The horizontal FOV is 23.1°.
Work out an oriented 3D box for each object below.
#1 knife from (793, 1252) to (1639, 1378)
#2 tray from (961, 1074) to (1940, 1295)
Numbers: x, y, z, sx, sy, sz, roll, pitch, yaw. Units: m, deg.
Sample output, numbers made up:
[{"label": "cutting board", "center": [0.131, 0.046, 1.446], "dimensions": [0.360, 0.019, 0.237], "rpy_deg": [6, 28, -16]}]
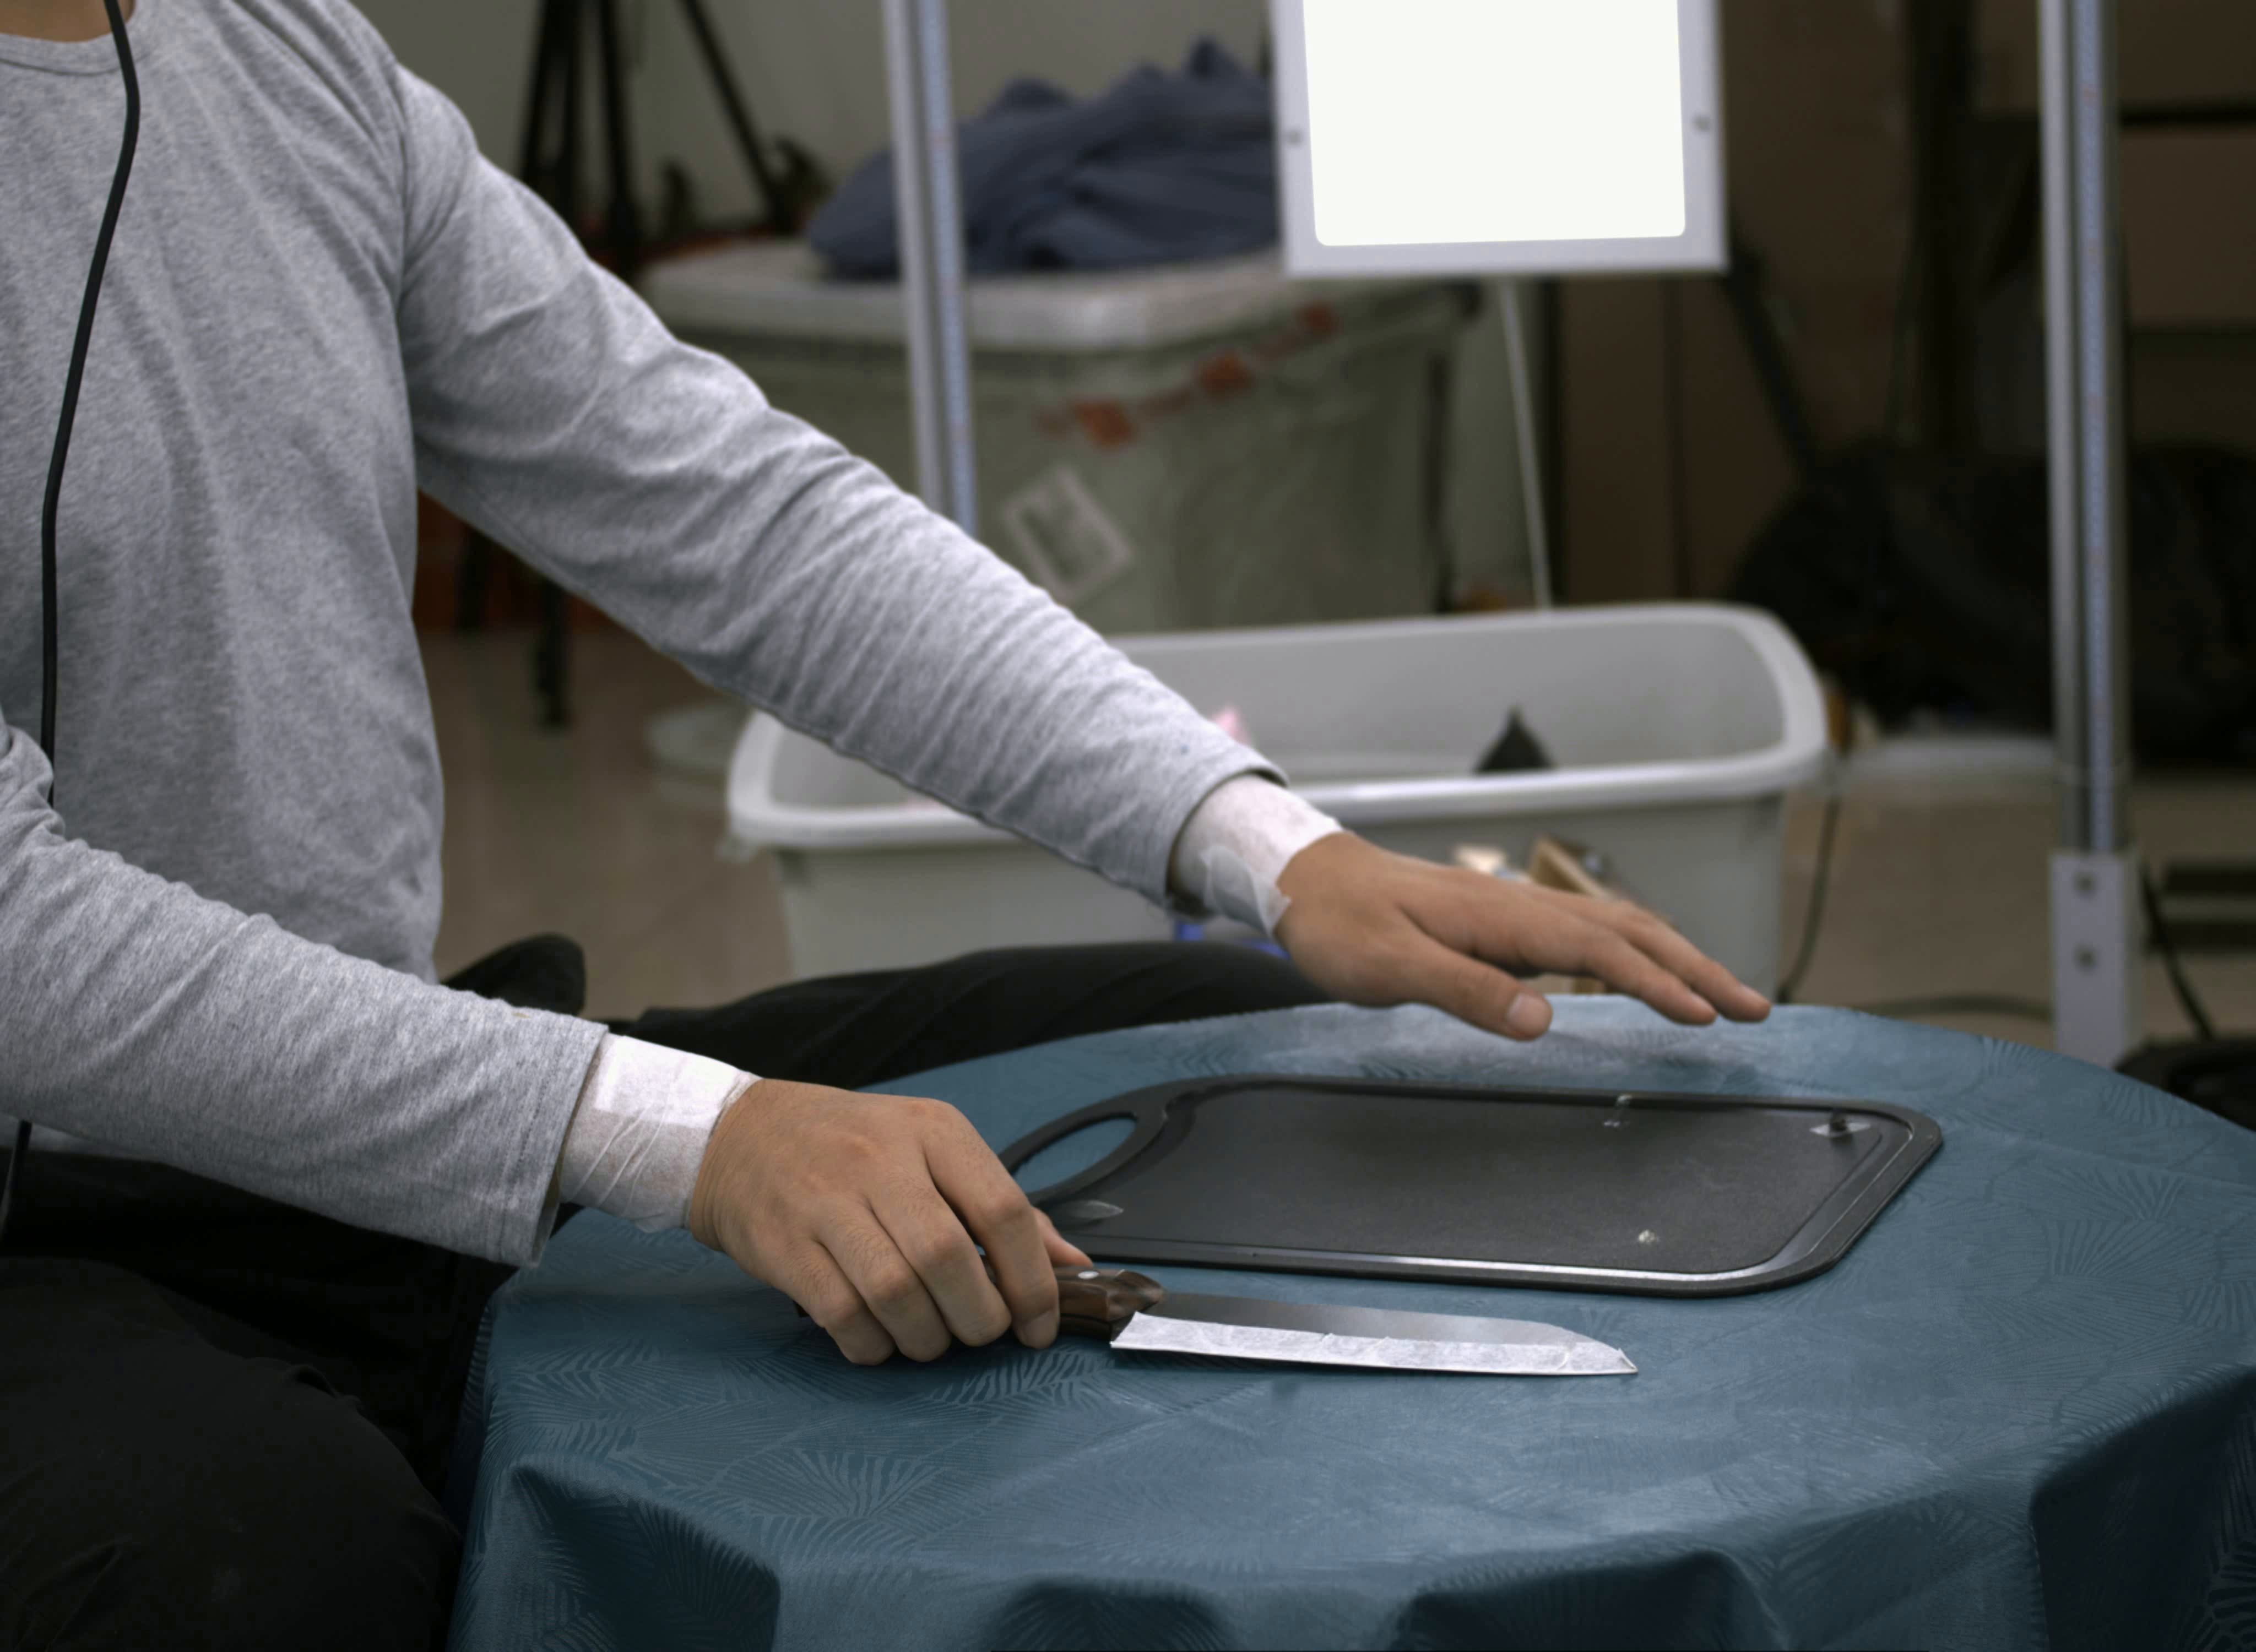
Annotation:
[{"label": "knife", "center": [0.024, 0.157, 1.740], "dimensions": [0.293, 0.020, 0.049], "rpy_deg": [3, 21, 23]}, {"label": "tray", "center": [0.105, 0.119, 1.885], "dimensions": [0.331, 0.010, 0.207], "rpy_deg": [1, 15, 26]}]
